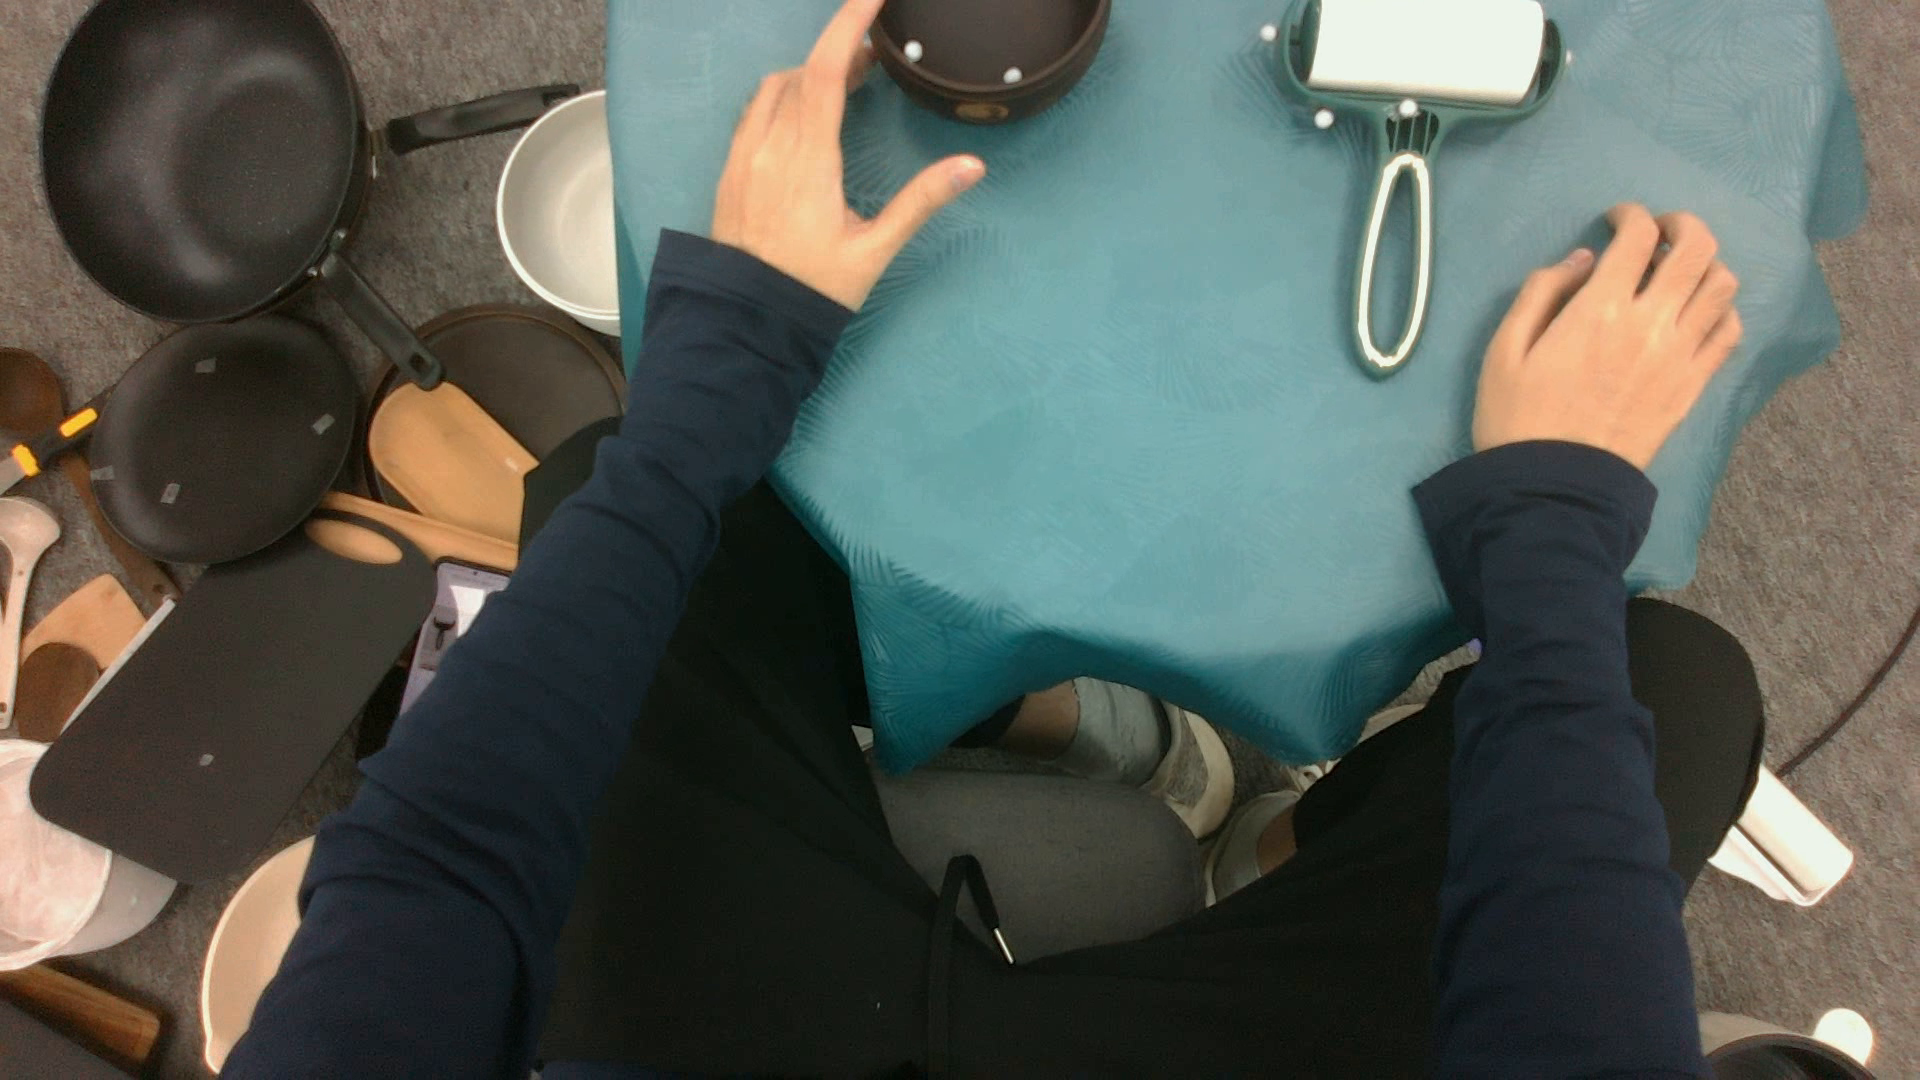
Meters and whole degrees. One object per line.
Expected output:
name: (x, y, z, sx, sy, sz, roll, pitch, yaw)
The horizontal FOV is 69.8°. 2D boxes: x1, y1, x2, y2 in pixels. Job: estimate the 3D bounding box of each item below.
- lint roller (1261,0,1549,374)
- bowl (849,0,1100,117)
lint roller: (0.204, -0.171, 0.652, 0.134, 0.048, 0.180, 6, 85, 2)
bowl: (0.007, -0.256, 0.652, 0.118, 0.070, 0.118, 0, 85, 1)
